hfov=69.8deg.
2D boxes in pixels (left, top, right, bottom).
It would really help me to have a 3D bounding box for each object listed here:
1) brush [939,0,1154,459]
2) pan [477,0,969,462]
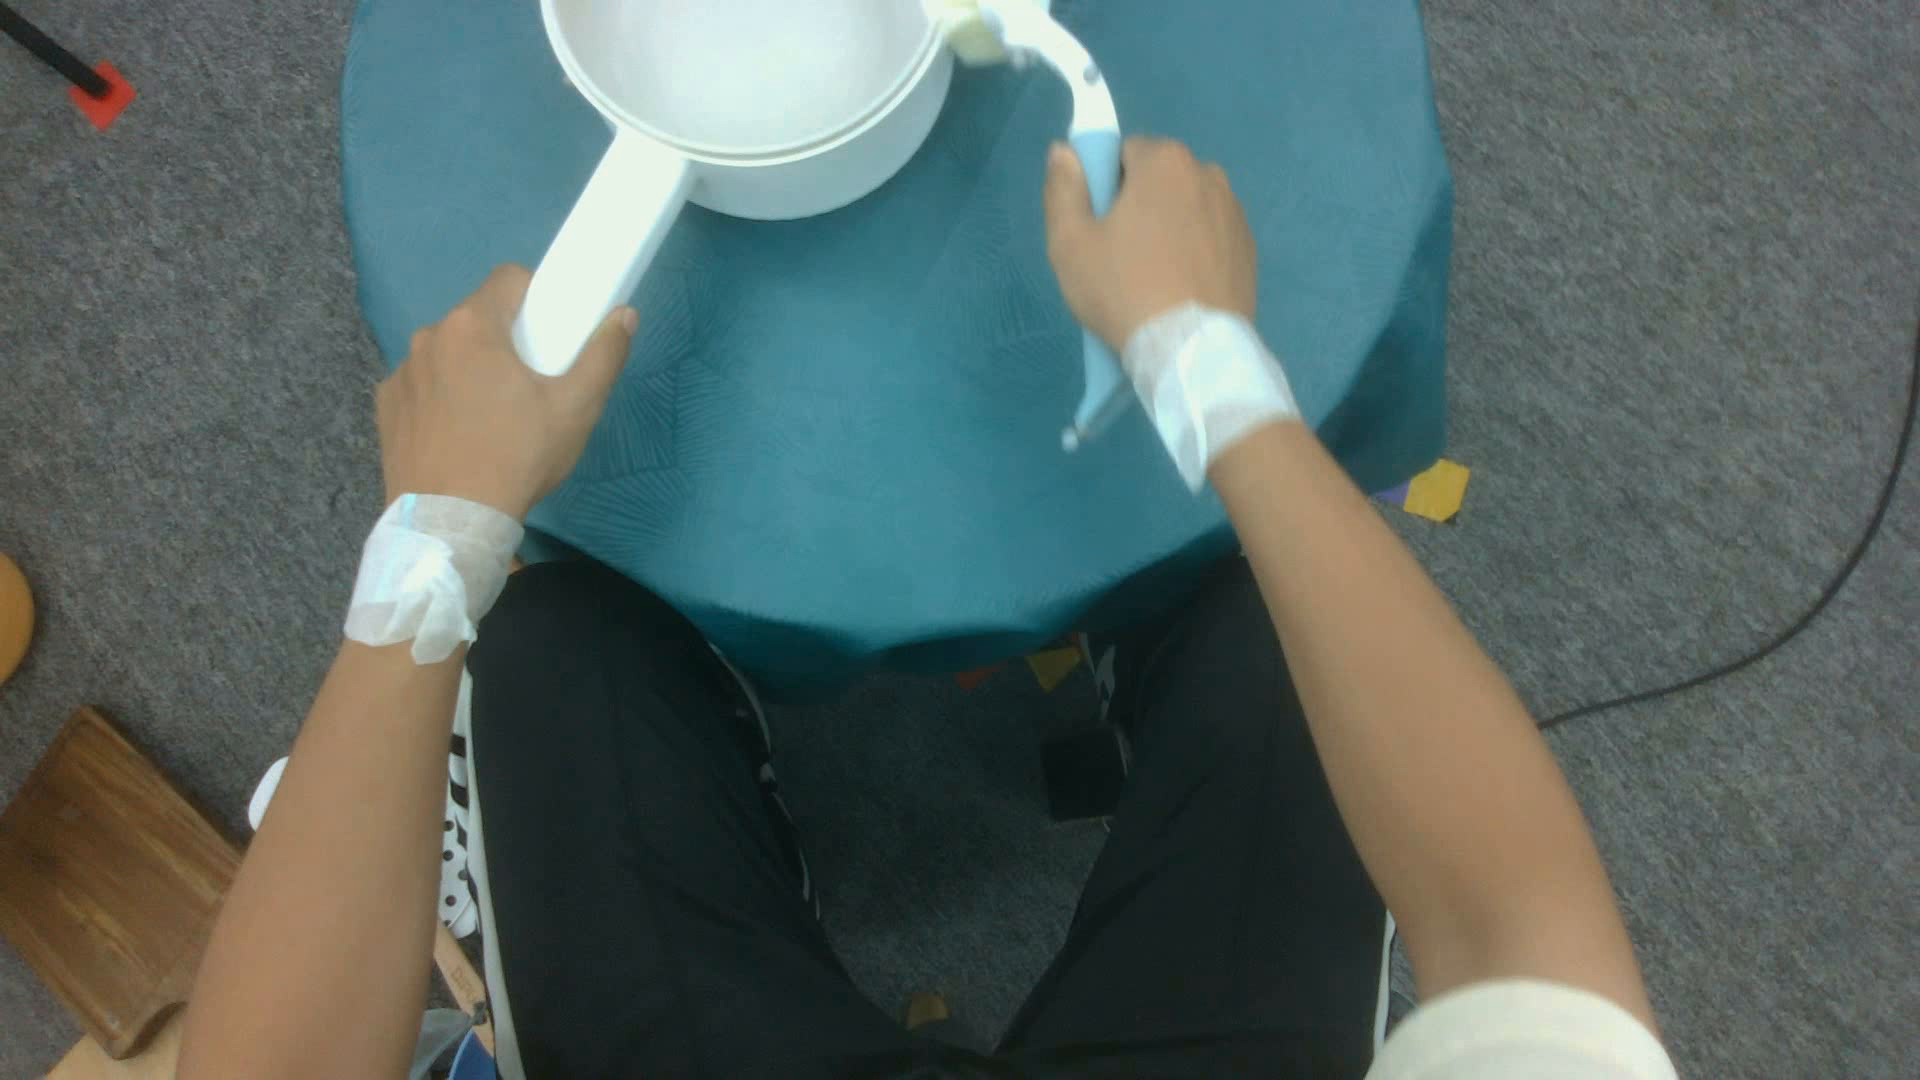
[{"bbox_3d":[0.030,-0.193,0.668,0.083,0.084,0.326,5,75,-30],"label":"brush"},{"bbox_3d":[-0.129,-0.195,0.716,0.201,0.102,0.355,26,82,6],"label":"pan"}]
